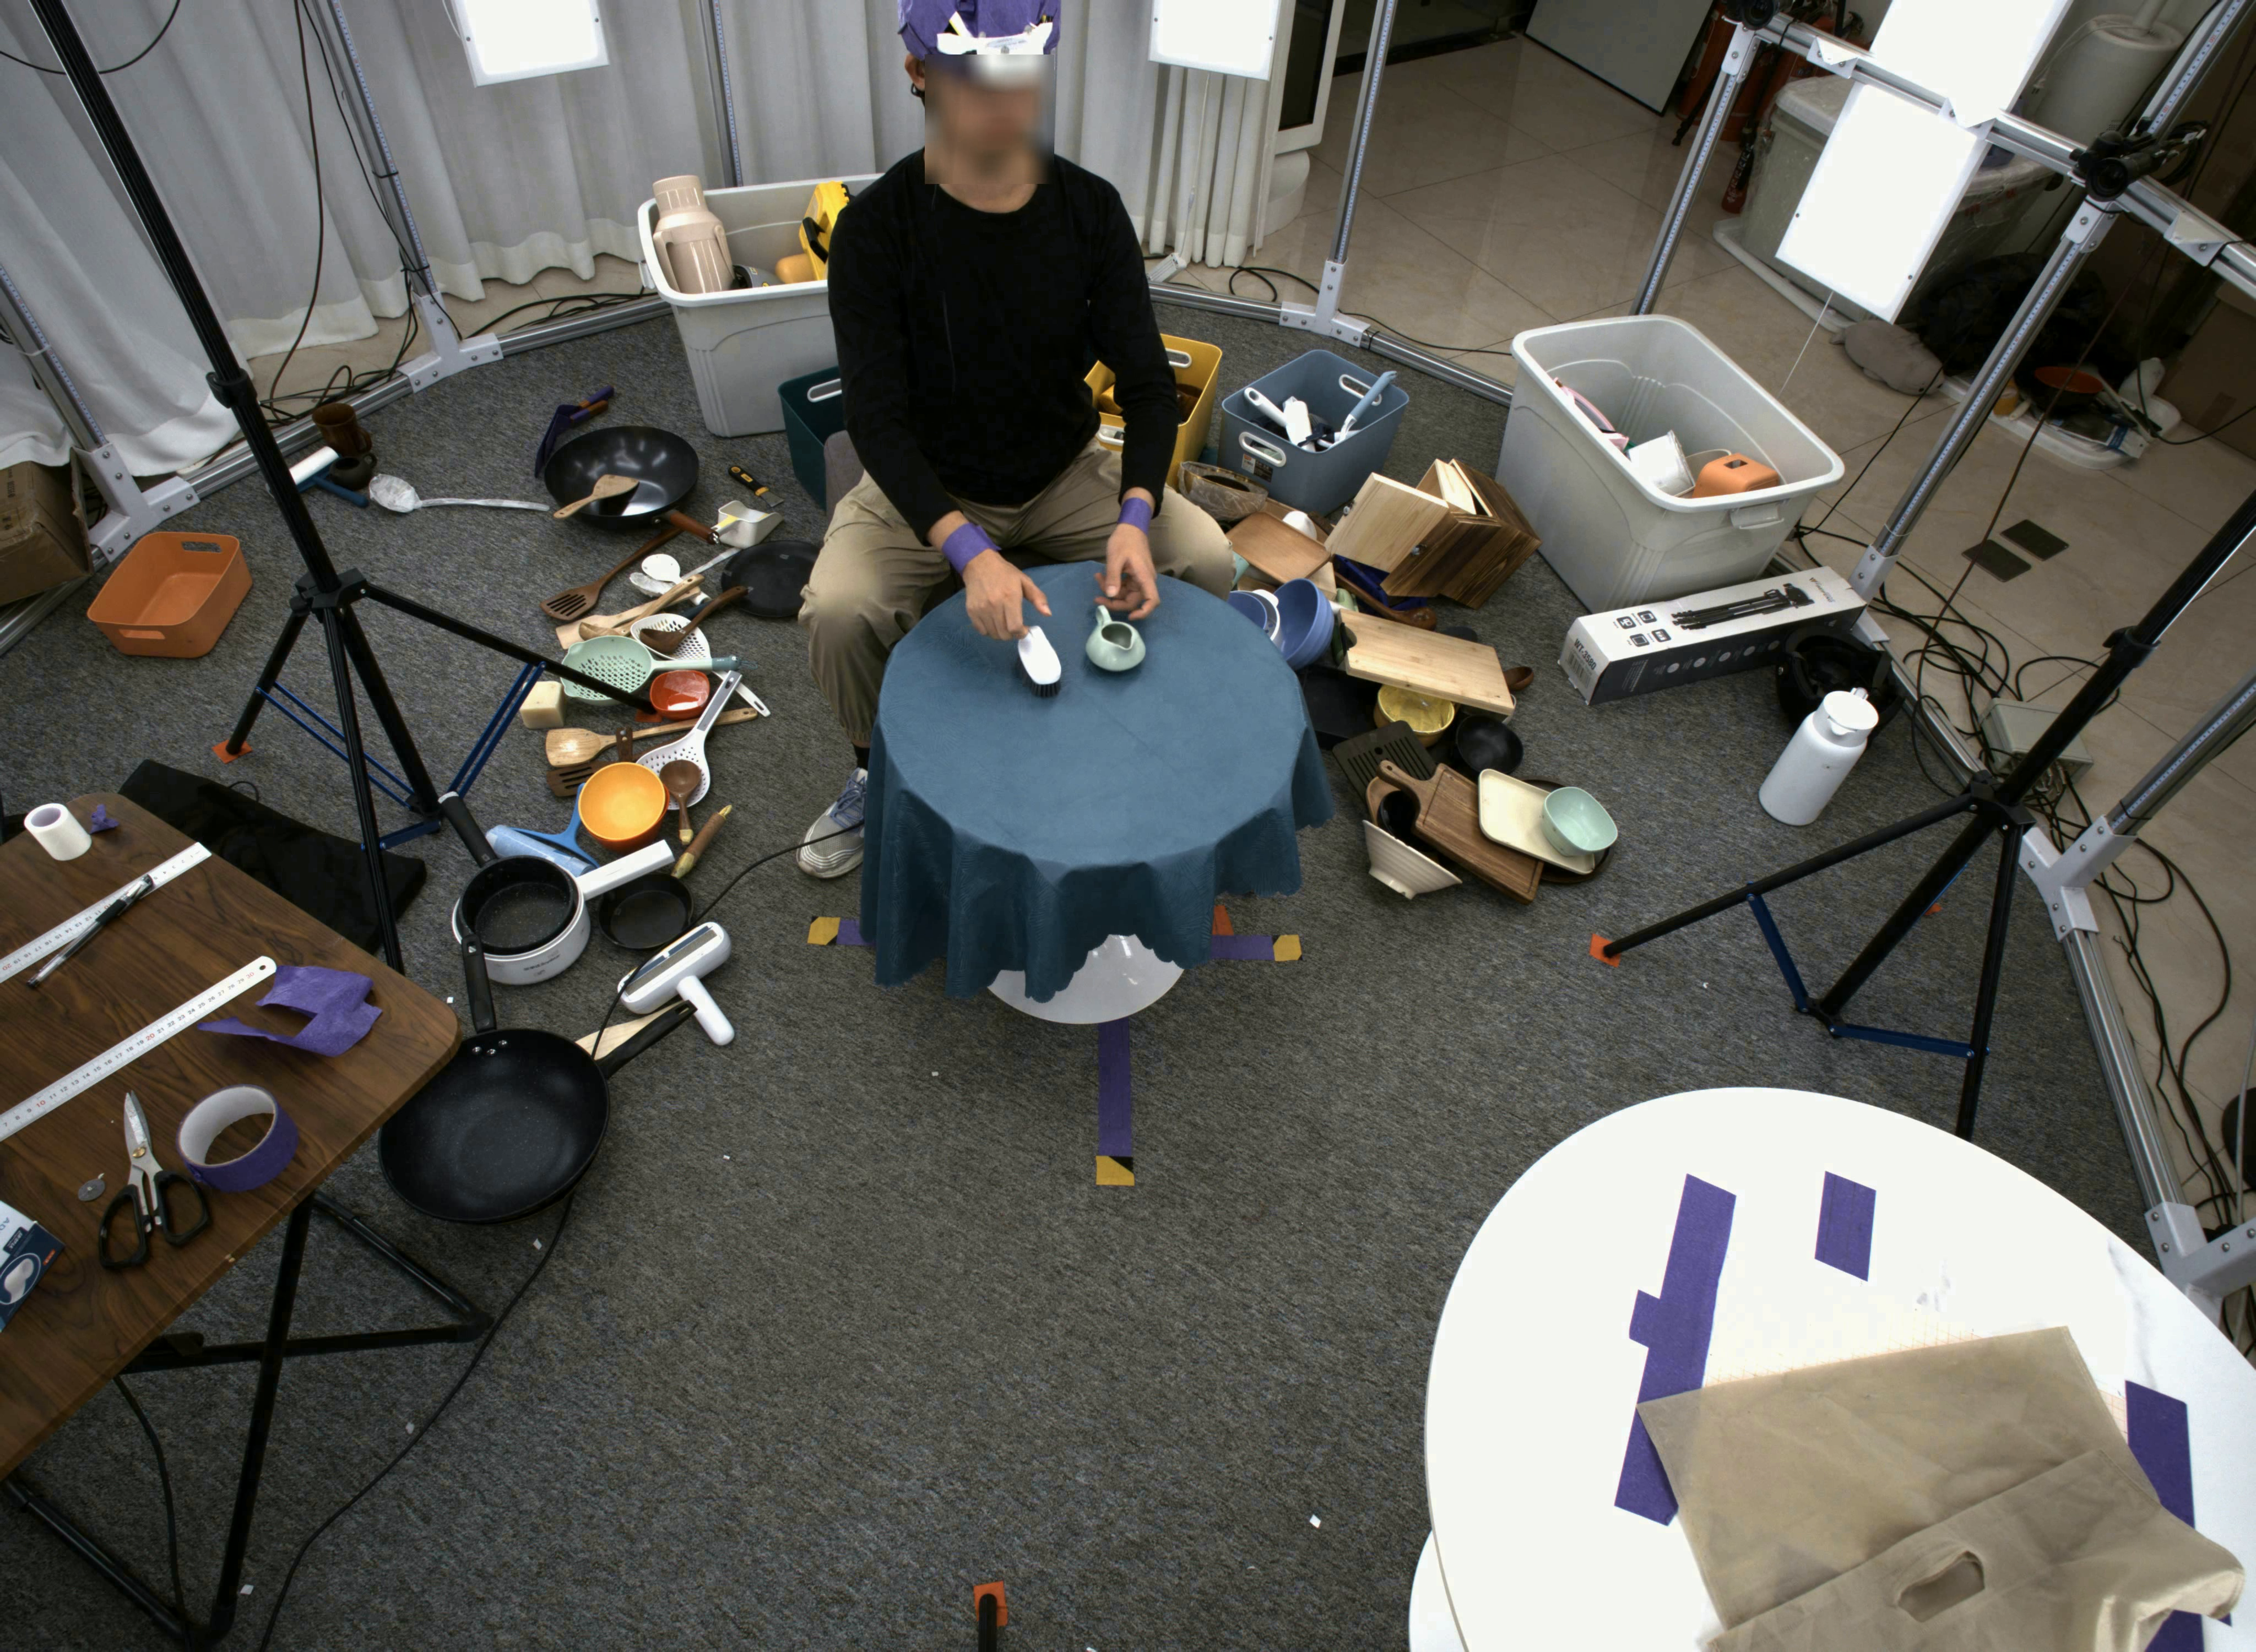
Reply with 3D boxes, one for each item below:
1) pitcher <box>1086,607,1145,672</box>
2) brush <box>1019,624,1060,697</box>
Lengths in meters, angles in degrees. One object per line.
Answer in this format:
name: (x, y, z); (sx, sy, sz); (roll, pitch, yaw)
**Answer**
pitcher: (-0.023, -0.270, 1.864); (0.086, 0.059, 0.110); (-18, 50, -20)
brush: (-0.126, -0.242, 1.819); (0.050, 0.071, 0.101); (-11, 52, -14)
